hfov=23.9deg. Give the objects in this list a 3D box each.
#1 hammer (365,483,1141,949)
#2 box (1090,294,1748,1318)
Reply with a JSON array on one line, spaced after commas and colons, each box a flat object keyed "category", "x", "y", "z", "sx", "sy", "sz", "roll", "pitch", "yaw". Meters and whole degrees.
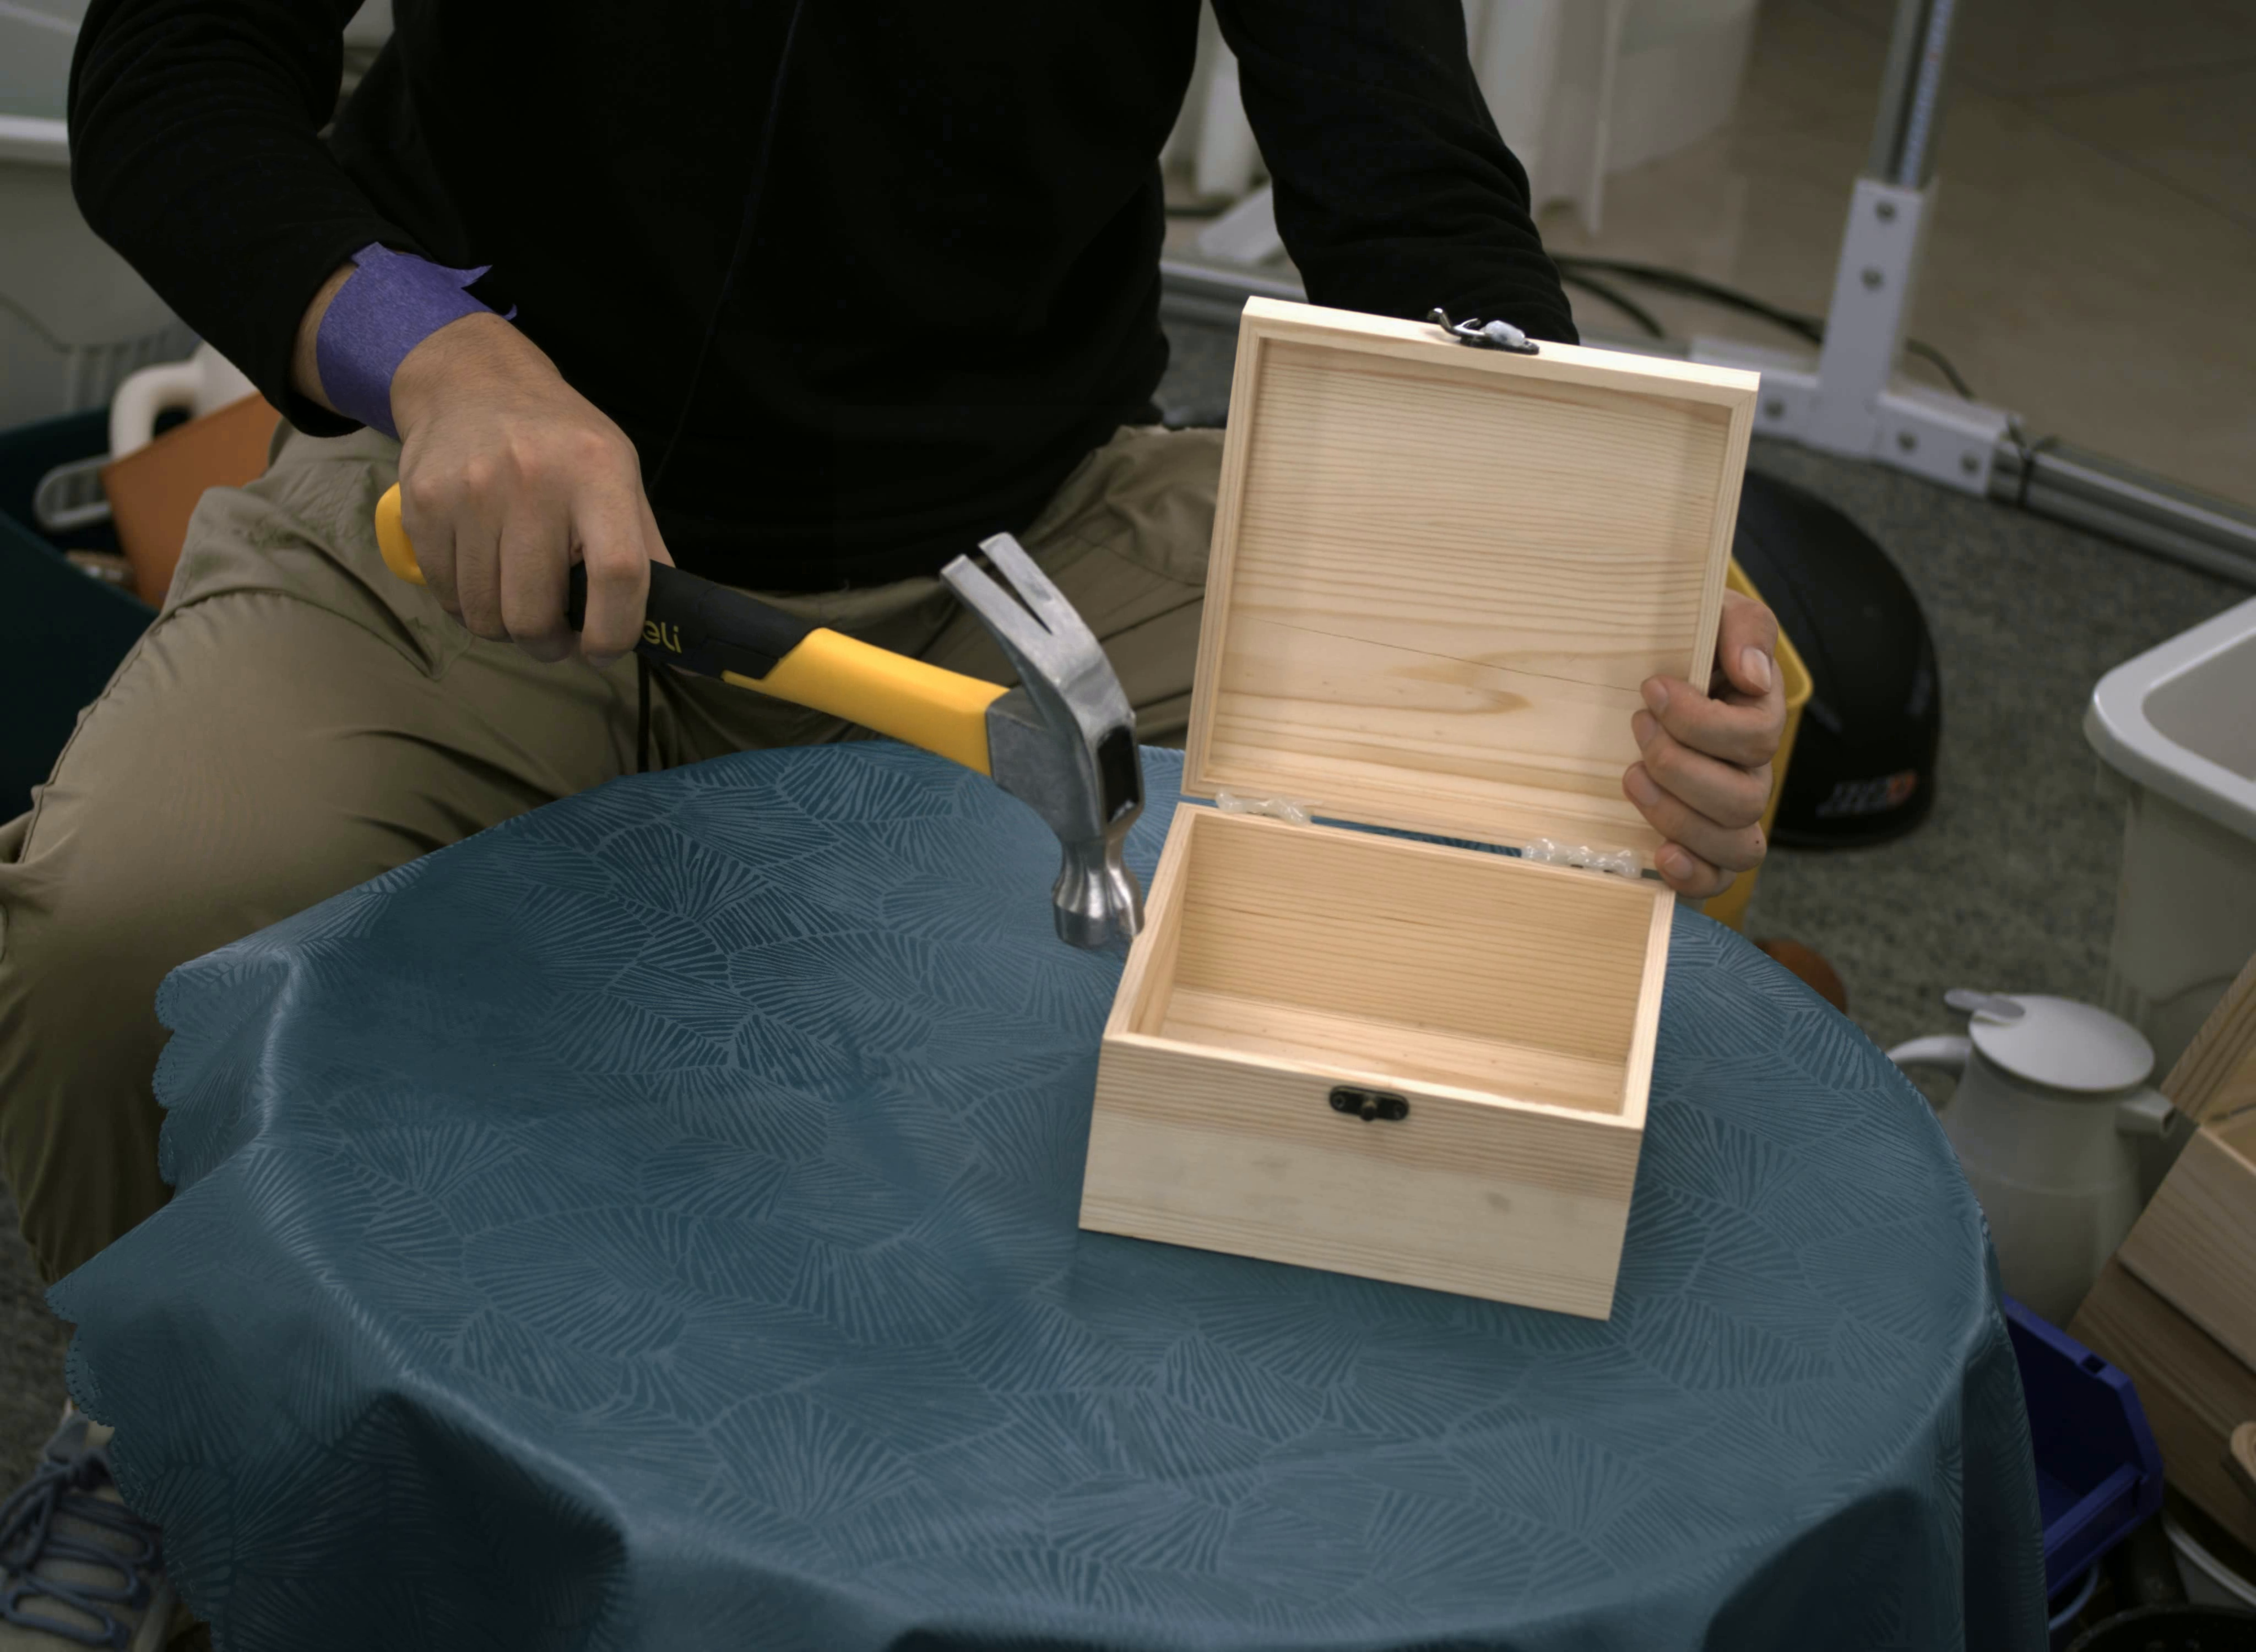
[{"category": "hammer", "x": -0.134, "y": -0.063, "z": 1.816, "sx": 0.340, "sy": 0.131, "sz": 0.032, "roll": 18, "pitch": 36, "yaw": 35}, {"category": "box", "x": 0.103, "y": -0.014, "z": 1.824, "sx": 0.181, "sy": 0.252, "sz": 0.266, "roll": 7, "pitch": 27, "yaw": 6}]
